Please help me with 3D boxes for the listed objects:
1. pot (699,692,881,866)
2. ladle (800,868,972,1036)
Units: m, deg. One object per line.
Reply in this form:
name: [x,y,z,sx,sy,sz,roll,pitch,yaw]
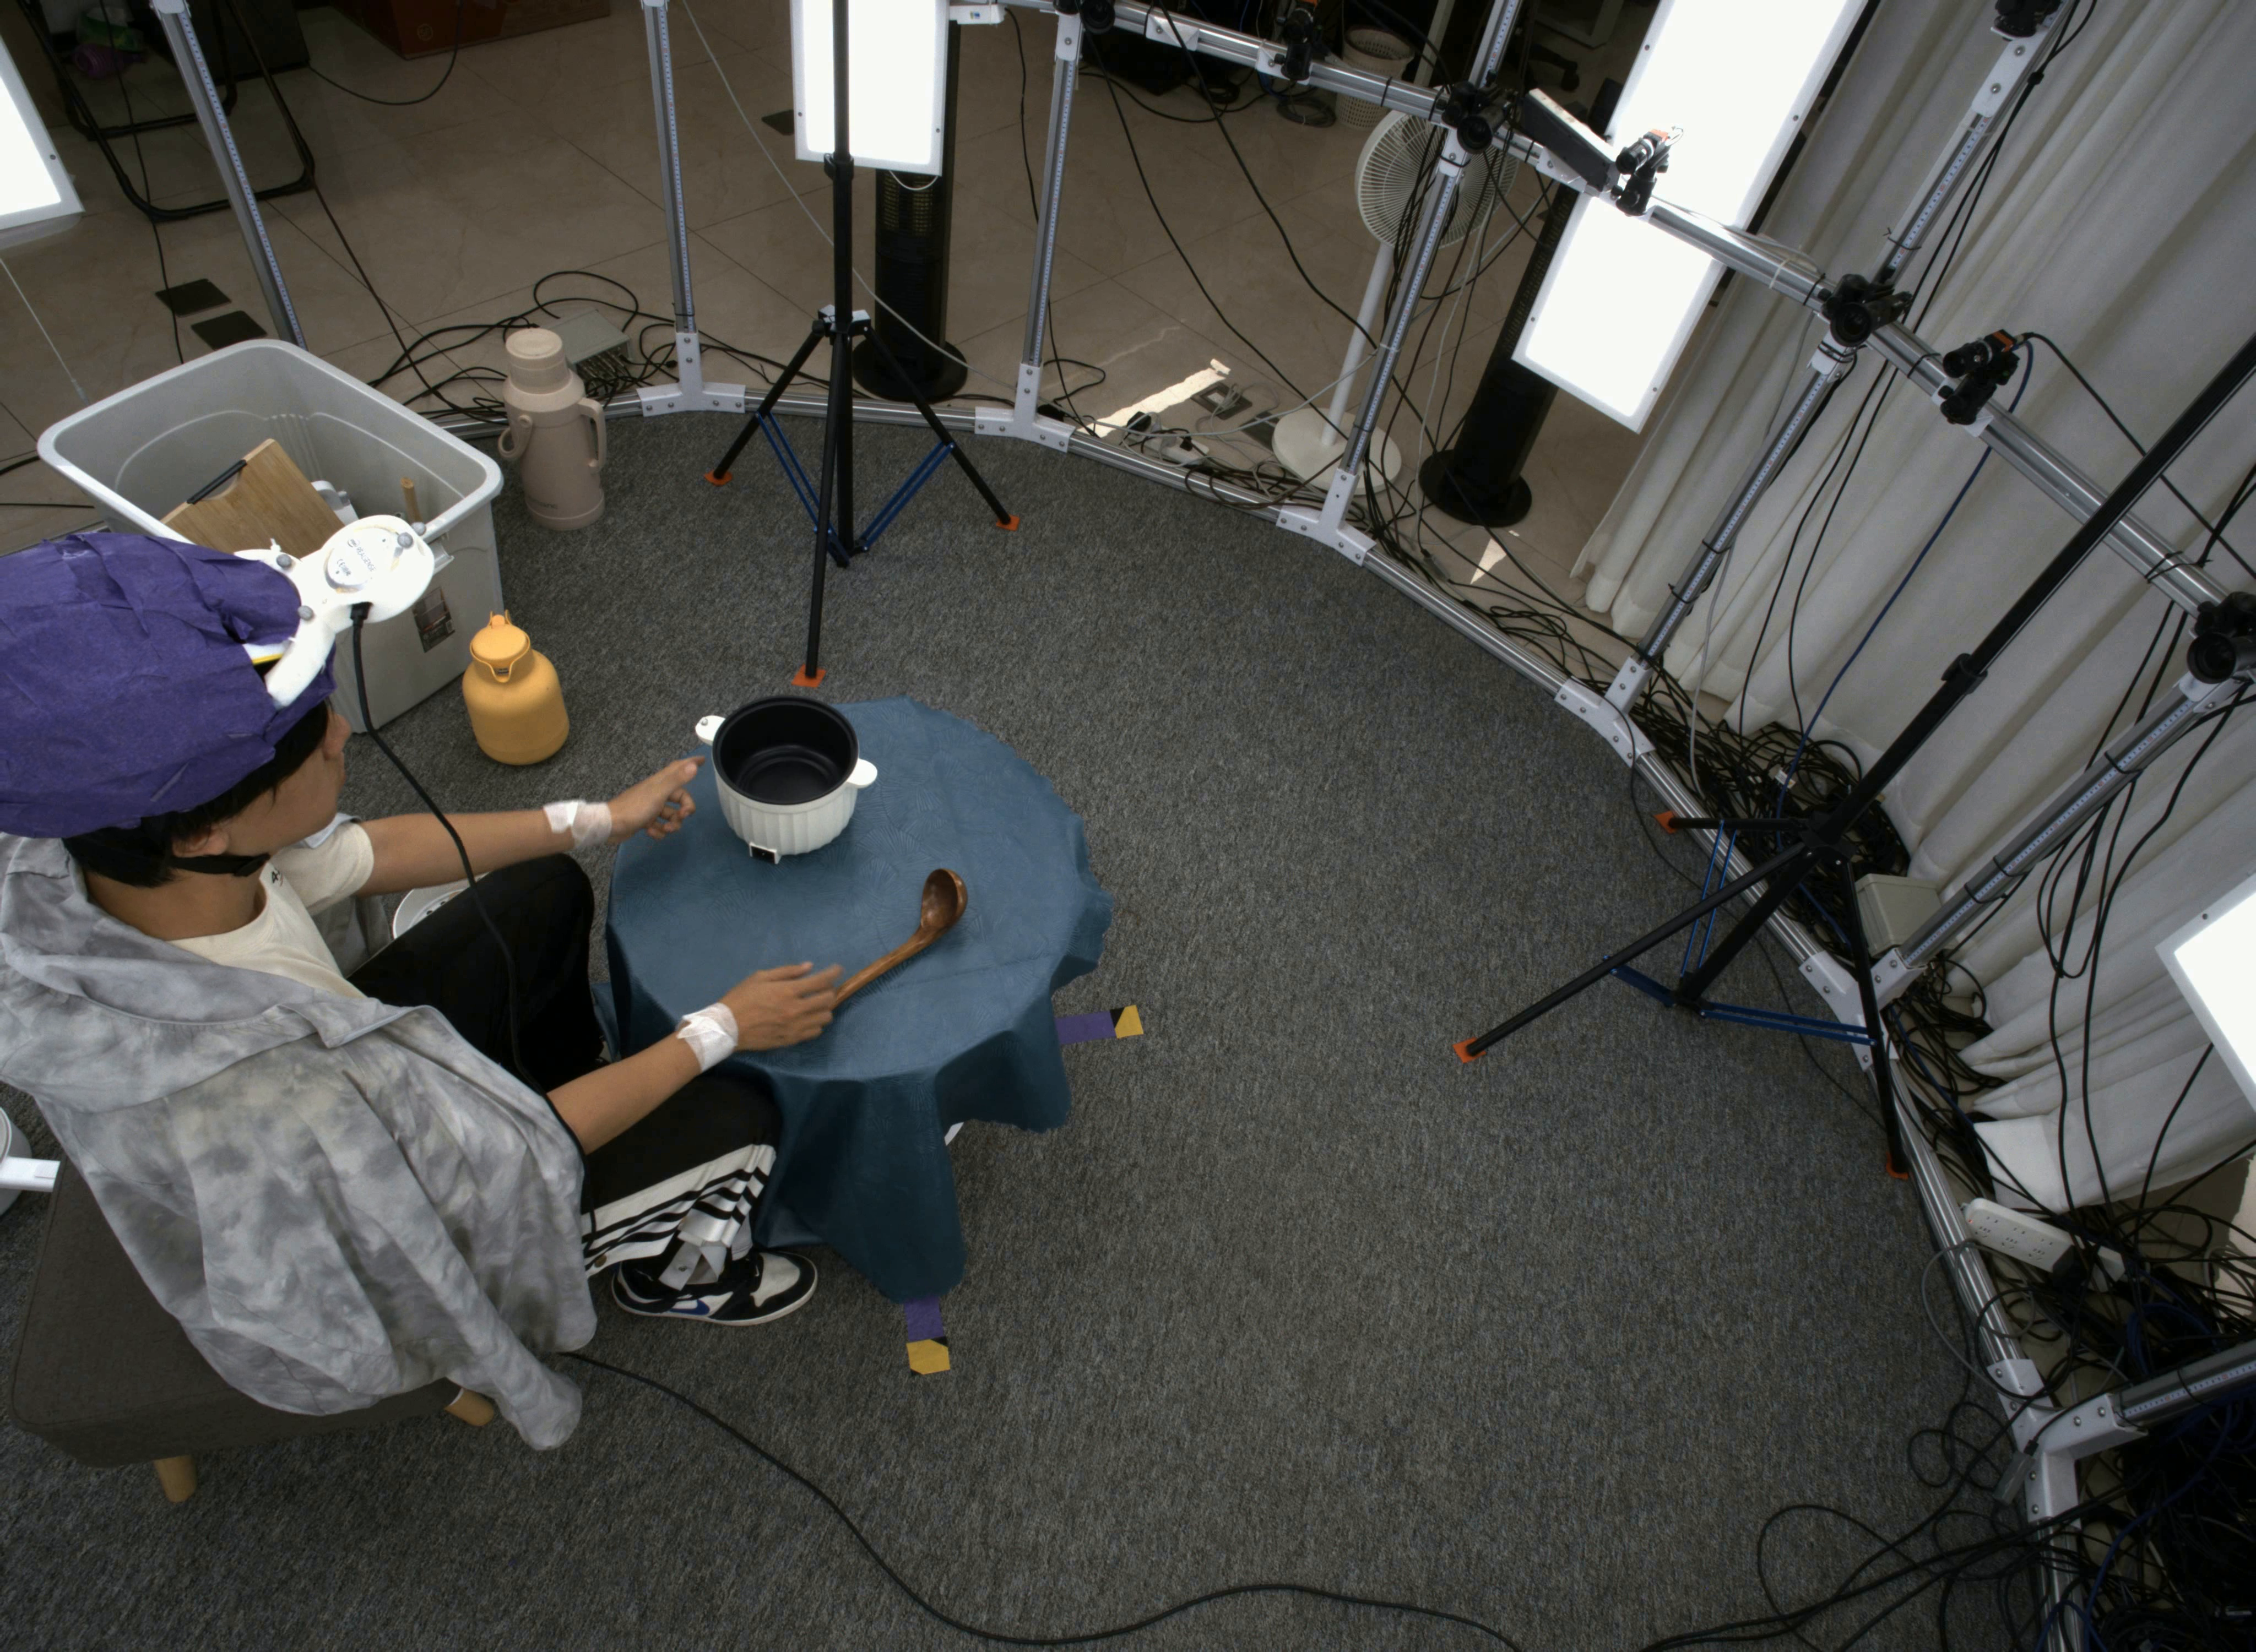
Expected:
pot: [-0.434,-0.064,1.681,0.238,0.145,0.188,17,55,-1]
ladle: [-0.301,0.147,1.602,0.274,0.079,0.079,-35,26,-31]
